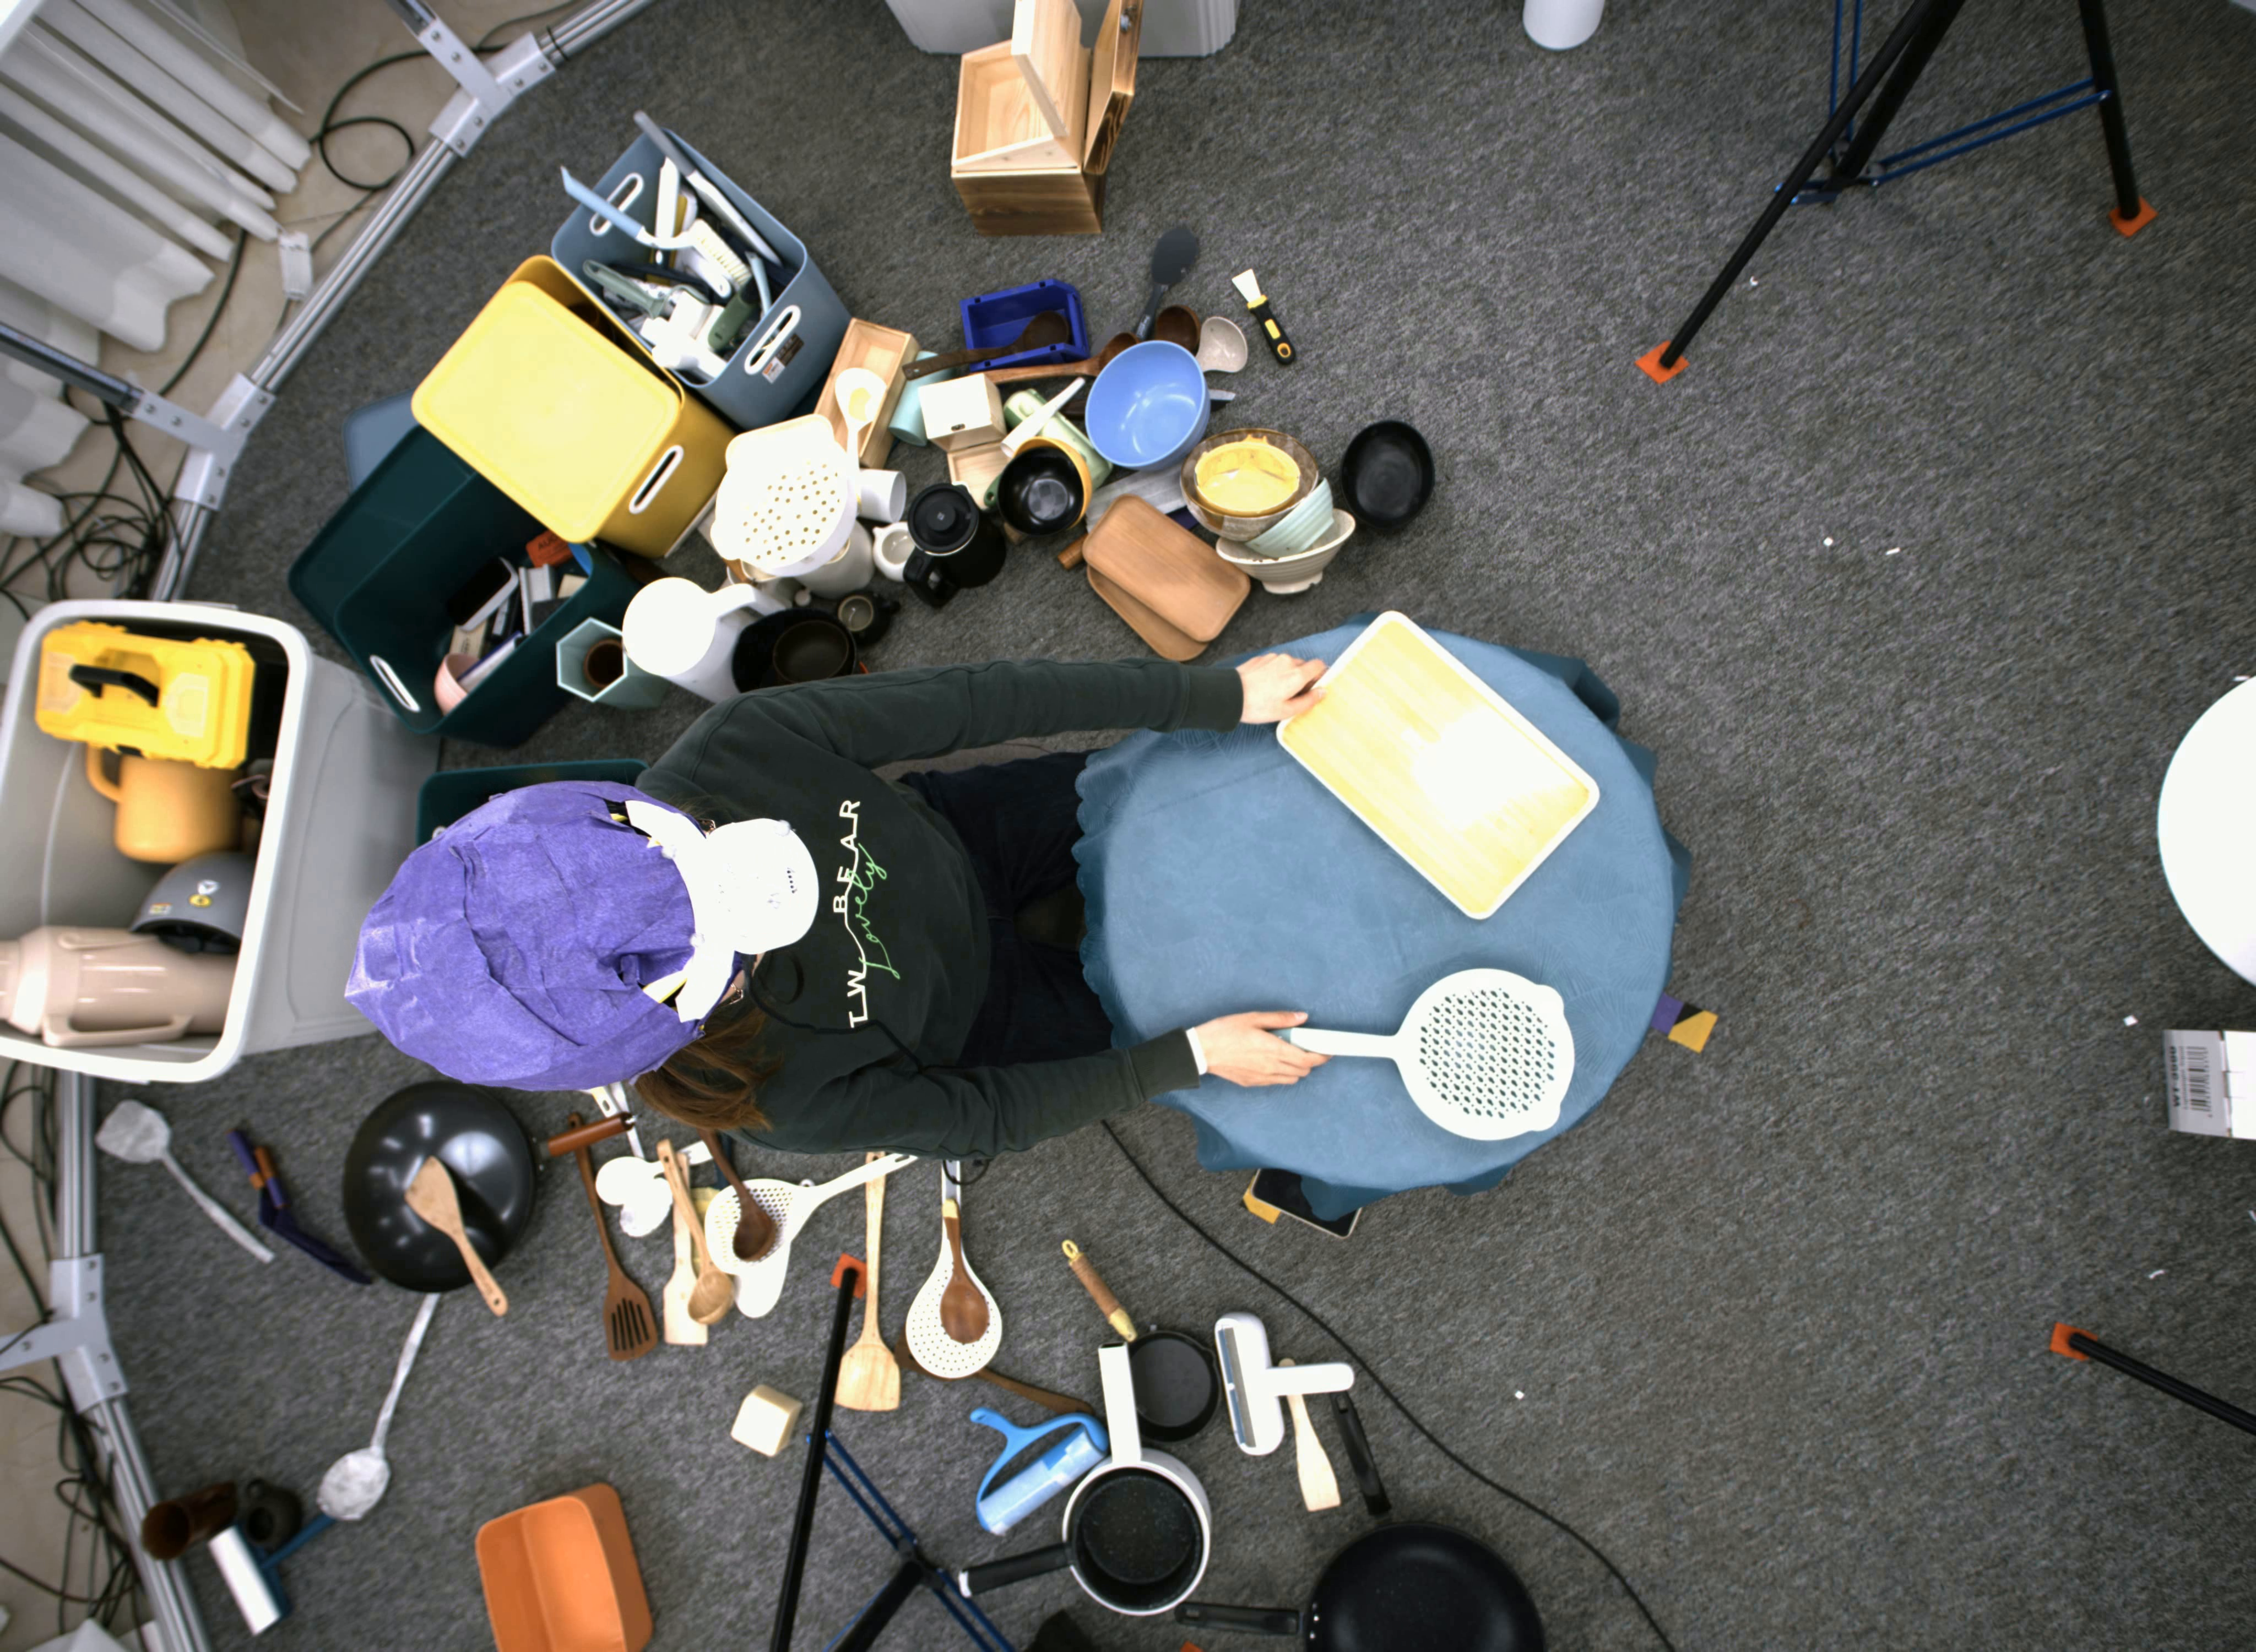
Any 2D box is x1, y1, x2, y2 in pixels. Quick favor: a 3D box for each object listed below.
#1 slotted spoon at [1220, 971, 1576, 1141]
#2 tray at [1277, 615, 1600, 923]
[{"bbox_3d":[0.270,0.226,1.421,0.360,0.075,0.168,3,84,10],"label":"slotted spoon"},{"bbox_3d":[0.324,-0.063,1.451,0.299,0.027,0.192,44,94,10],"label":"tray"}]
